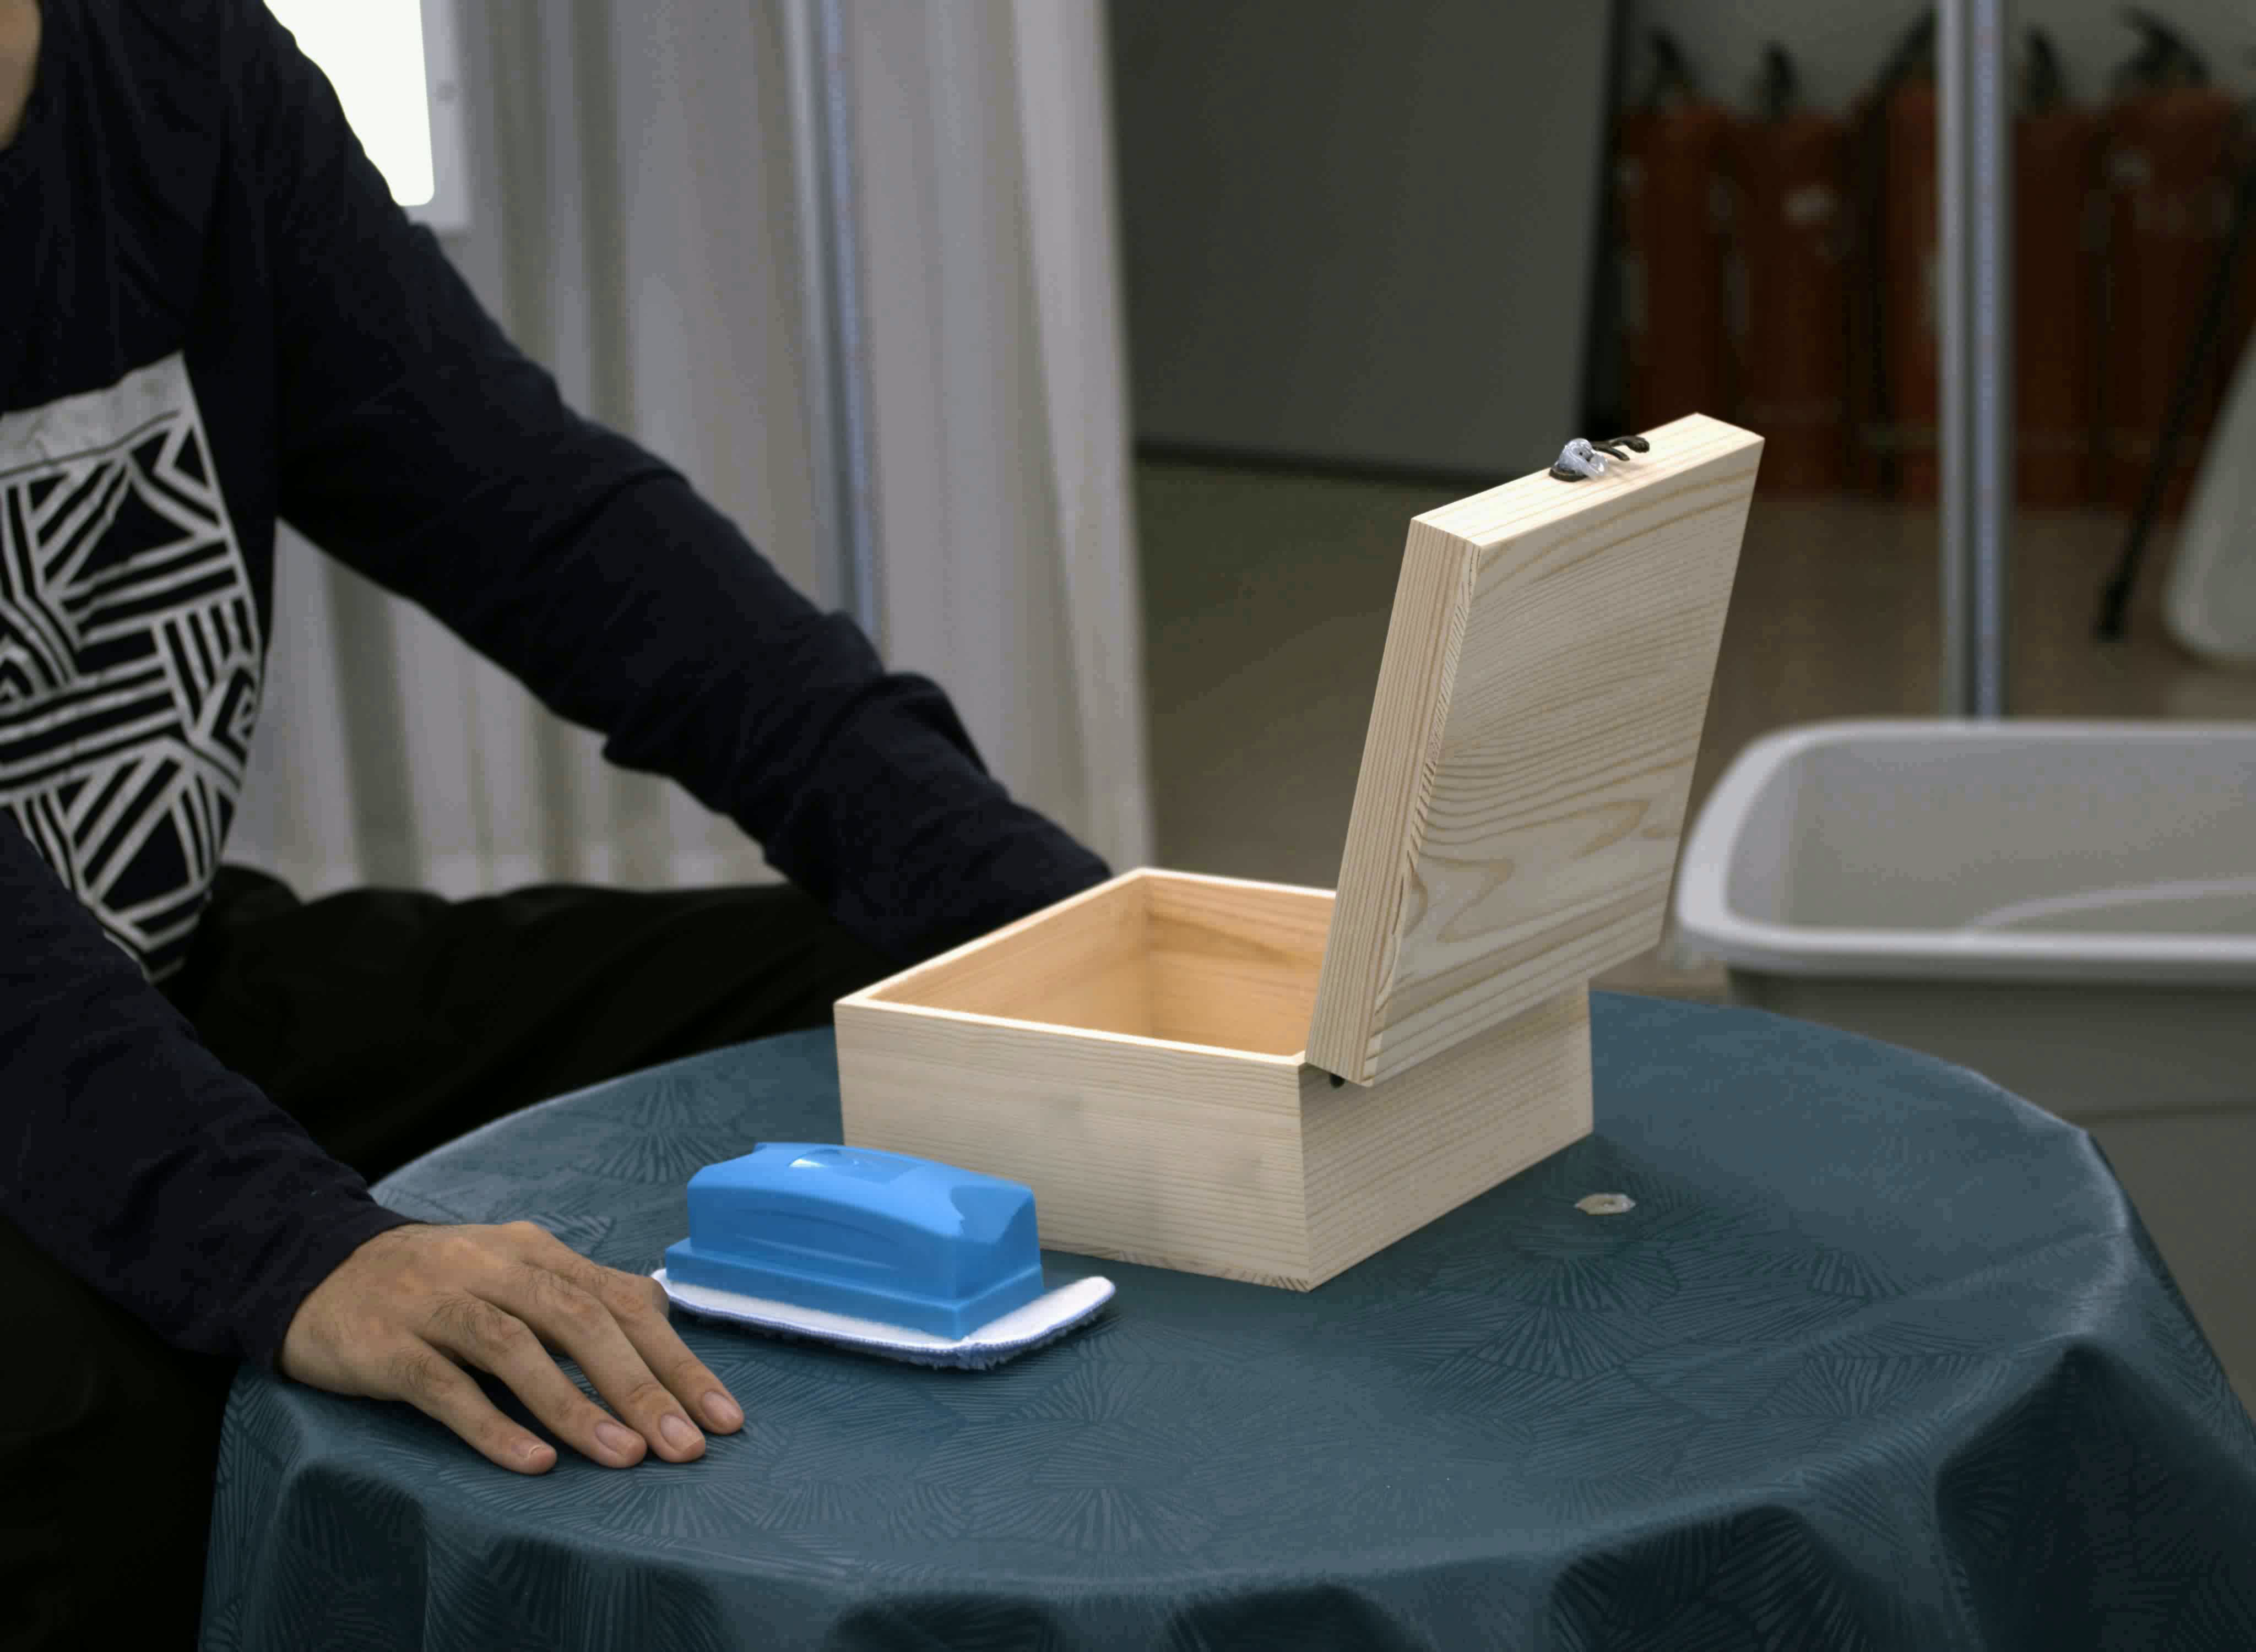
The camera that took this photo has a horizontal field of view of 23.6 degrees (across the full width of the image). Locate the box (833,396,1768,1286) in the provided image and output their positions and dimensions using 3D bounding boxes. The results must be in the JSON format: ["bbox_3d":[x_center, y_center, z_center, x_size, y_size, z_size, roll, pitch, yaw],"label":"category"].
[{"bbox_3d":[0.052,-0.003,1.735,0.266,0.256,0.178,5,15,34],"label":"box"}]

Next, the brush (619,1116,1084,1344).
[{"bbox_3d":[-0.085,0.123,1.667,0.145,0.056,0.082,10,16,39],"label":"brush"}]
